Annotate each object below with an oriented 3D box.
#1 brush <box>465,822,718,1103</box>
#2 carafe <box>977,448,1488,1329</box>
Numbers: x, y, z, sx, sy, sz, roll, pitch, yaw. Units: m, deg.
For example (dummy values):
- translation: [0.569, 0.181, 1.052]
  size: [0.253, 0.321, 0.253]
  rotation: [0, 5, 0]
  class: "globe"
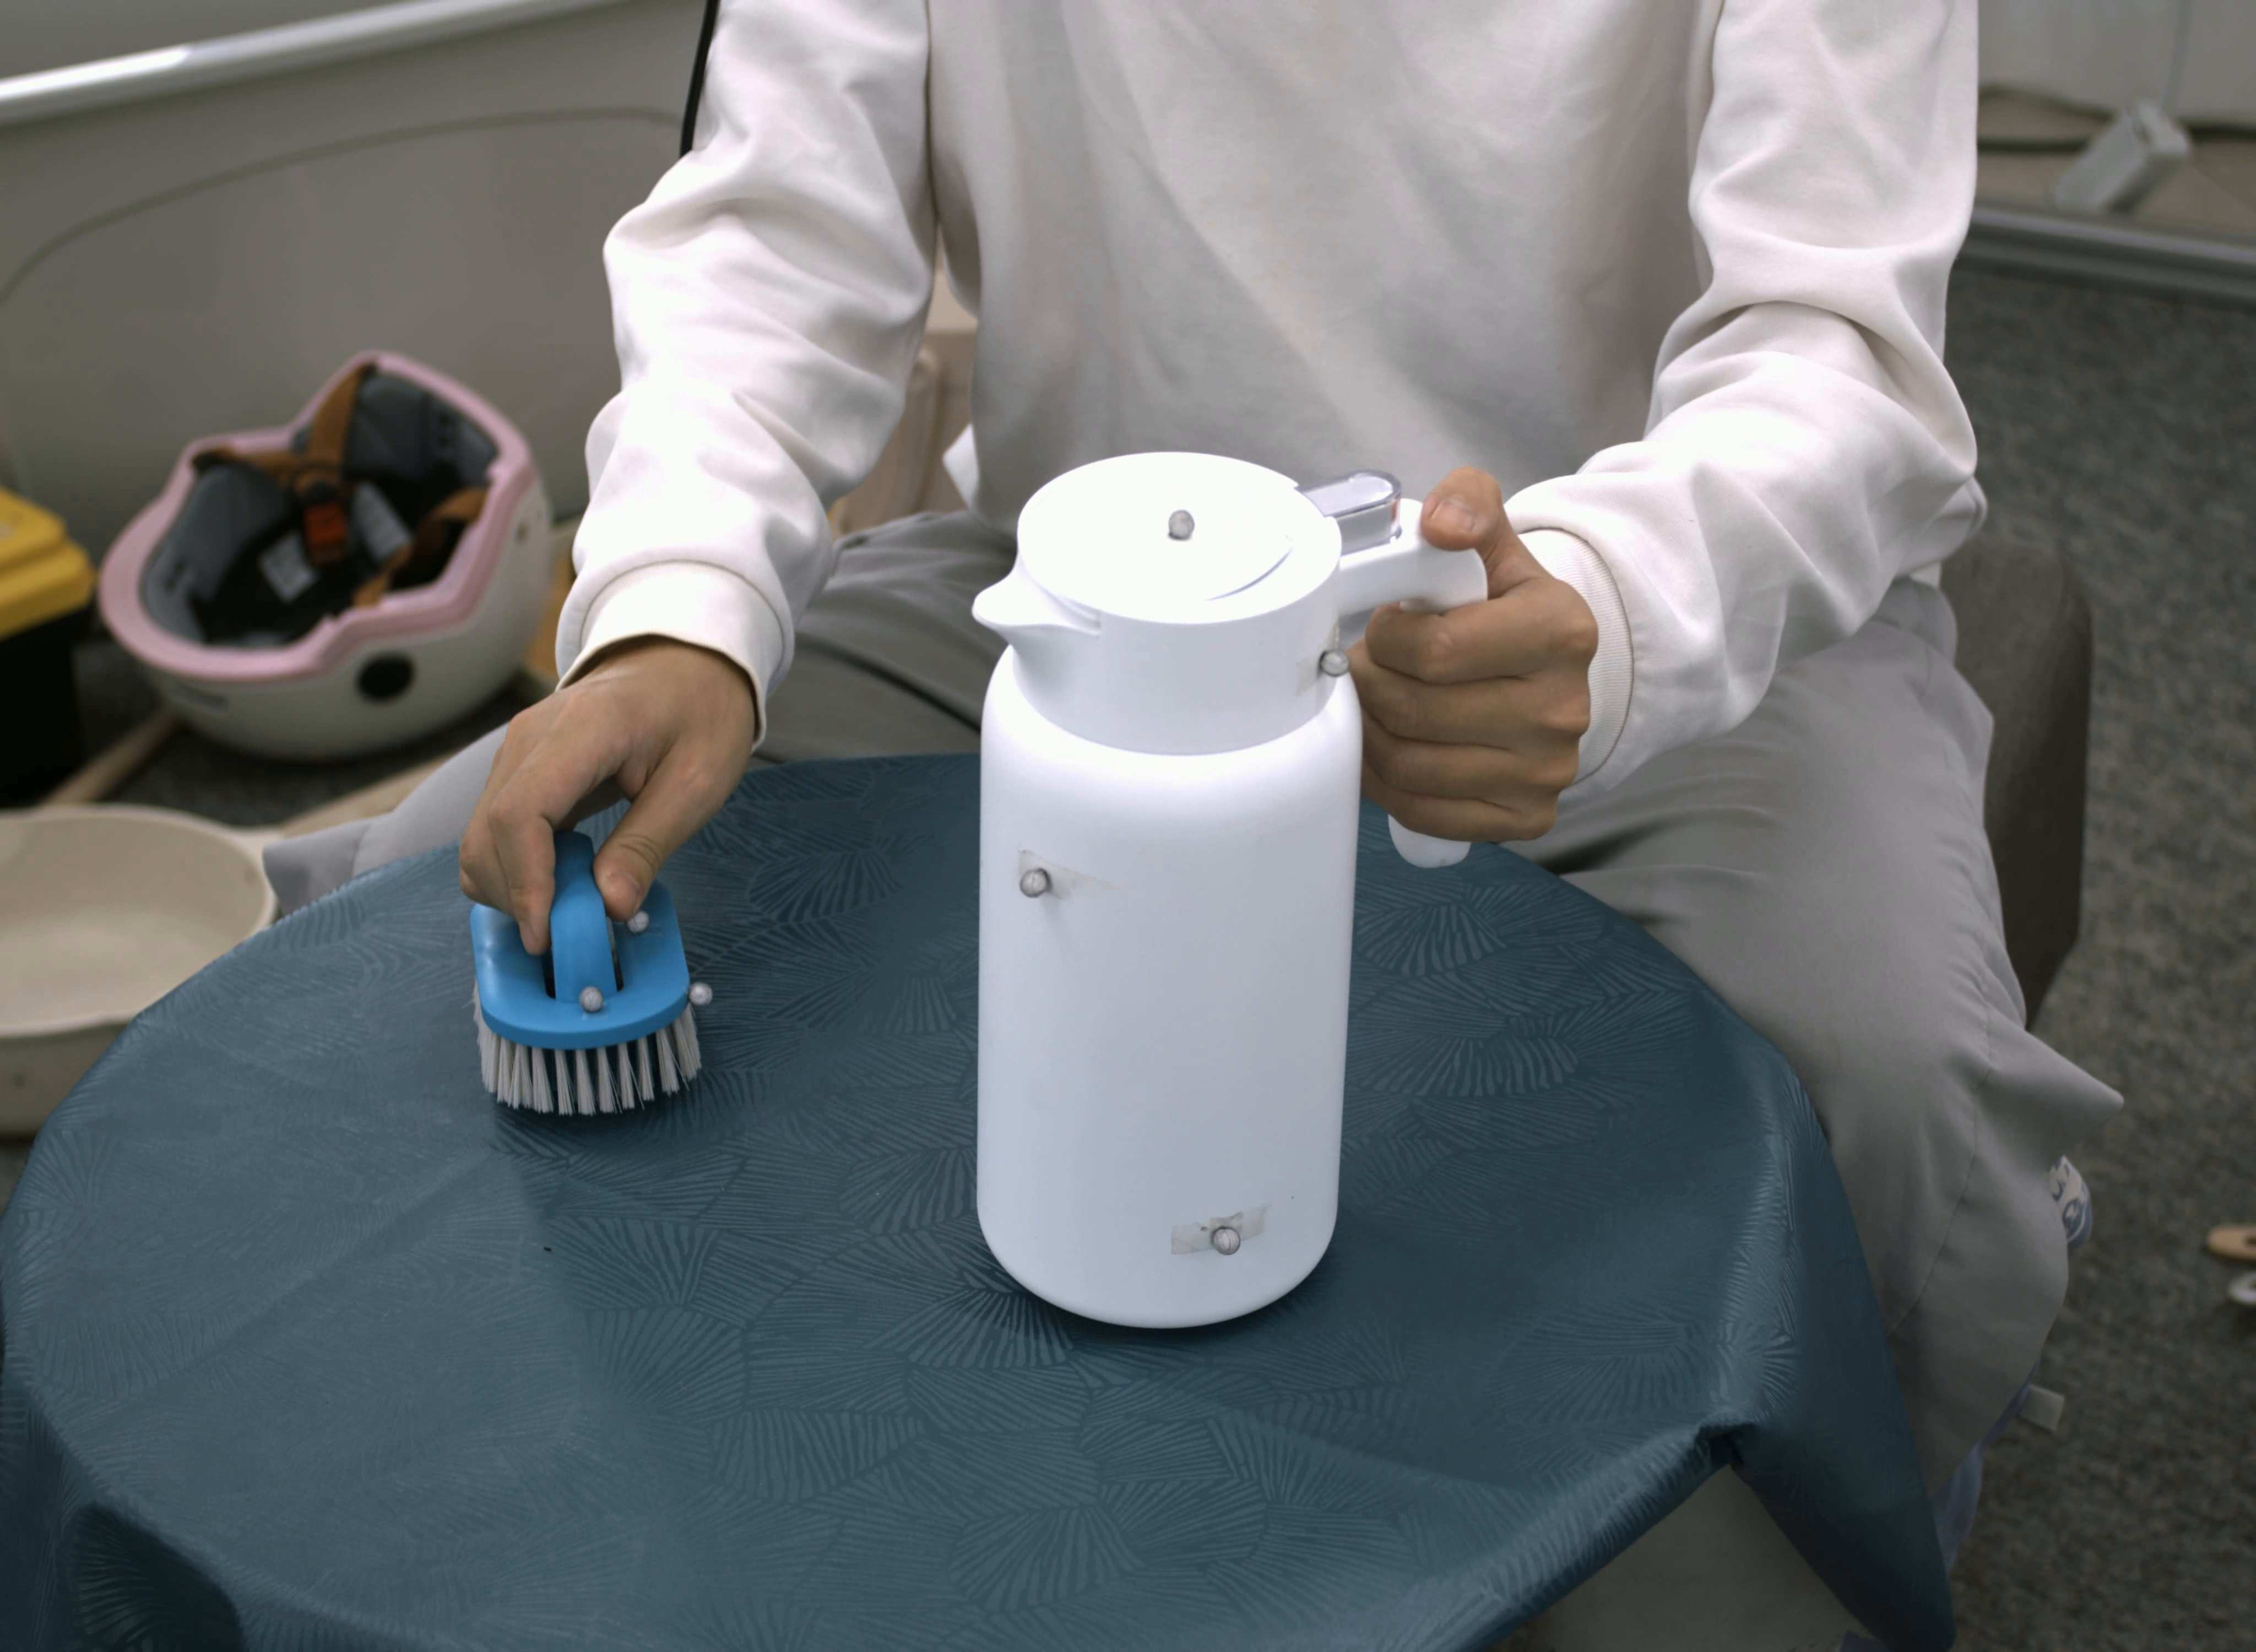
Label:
- translation: [-0.190, 0.040, 1.958]
  size: [0.084, 0.063, 0.143]
  rotation: [-9, 23, -4]
  class: "brush"
- translation: [0.028, 0.016, 1.764]
  size: [0.174, 0.265, 0.124]
  rotation: [-15, 34, -25]
  class: "carafe"
